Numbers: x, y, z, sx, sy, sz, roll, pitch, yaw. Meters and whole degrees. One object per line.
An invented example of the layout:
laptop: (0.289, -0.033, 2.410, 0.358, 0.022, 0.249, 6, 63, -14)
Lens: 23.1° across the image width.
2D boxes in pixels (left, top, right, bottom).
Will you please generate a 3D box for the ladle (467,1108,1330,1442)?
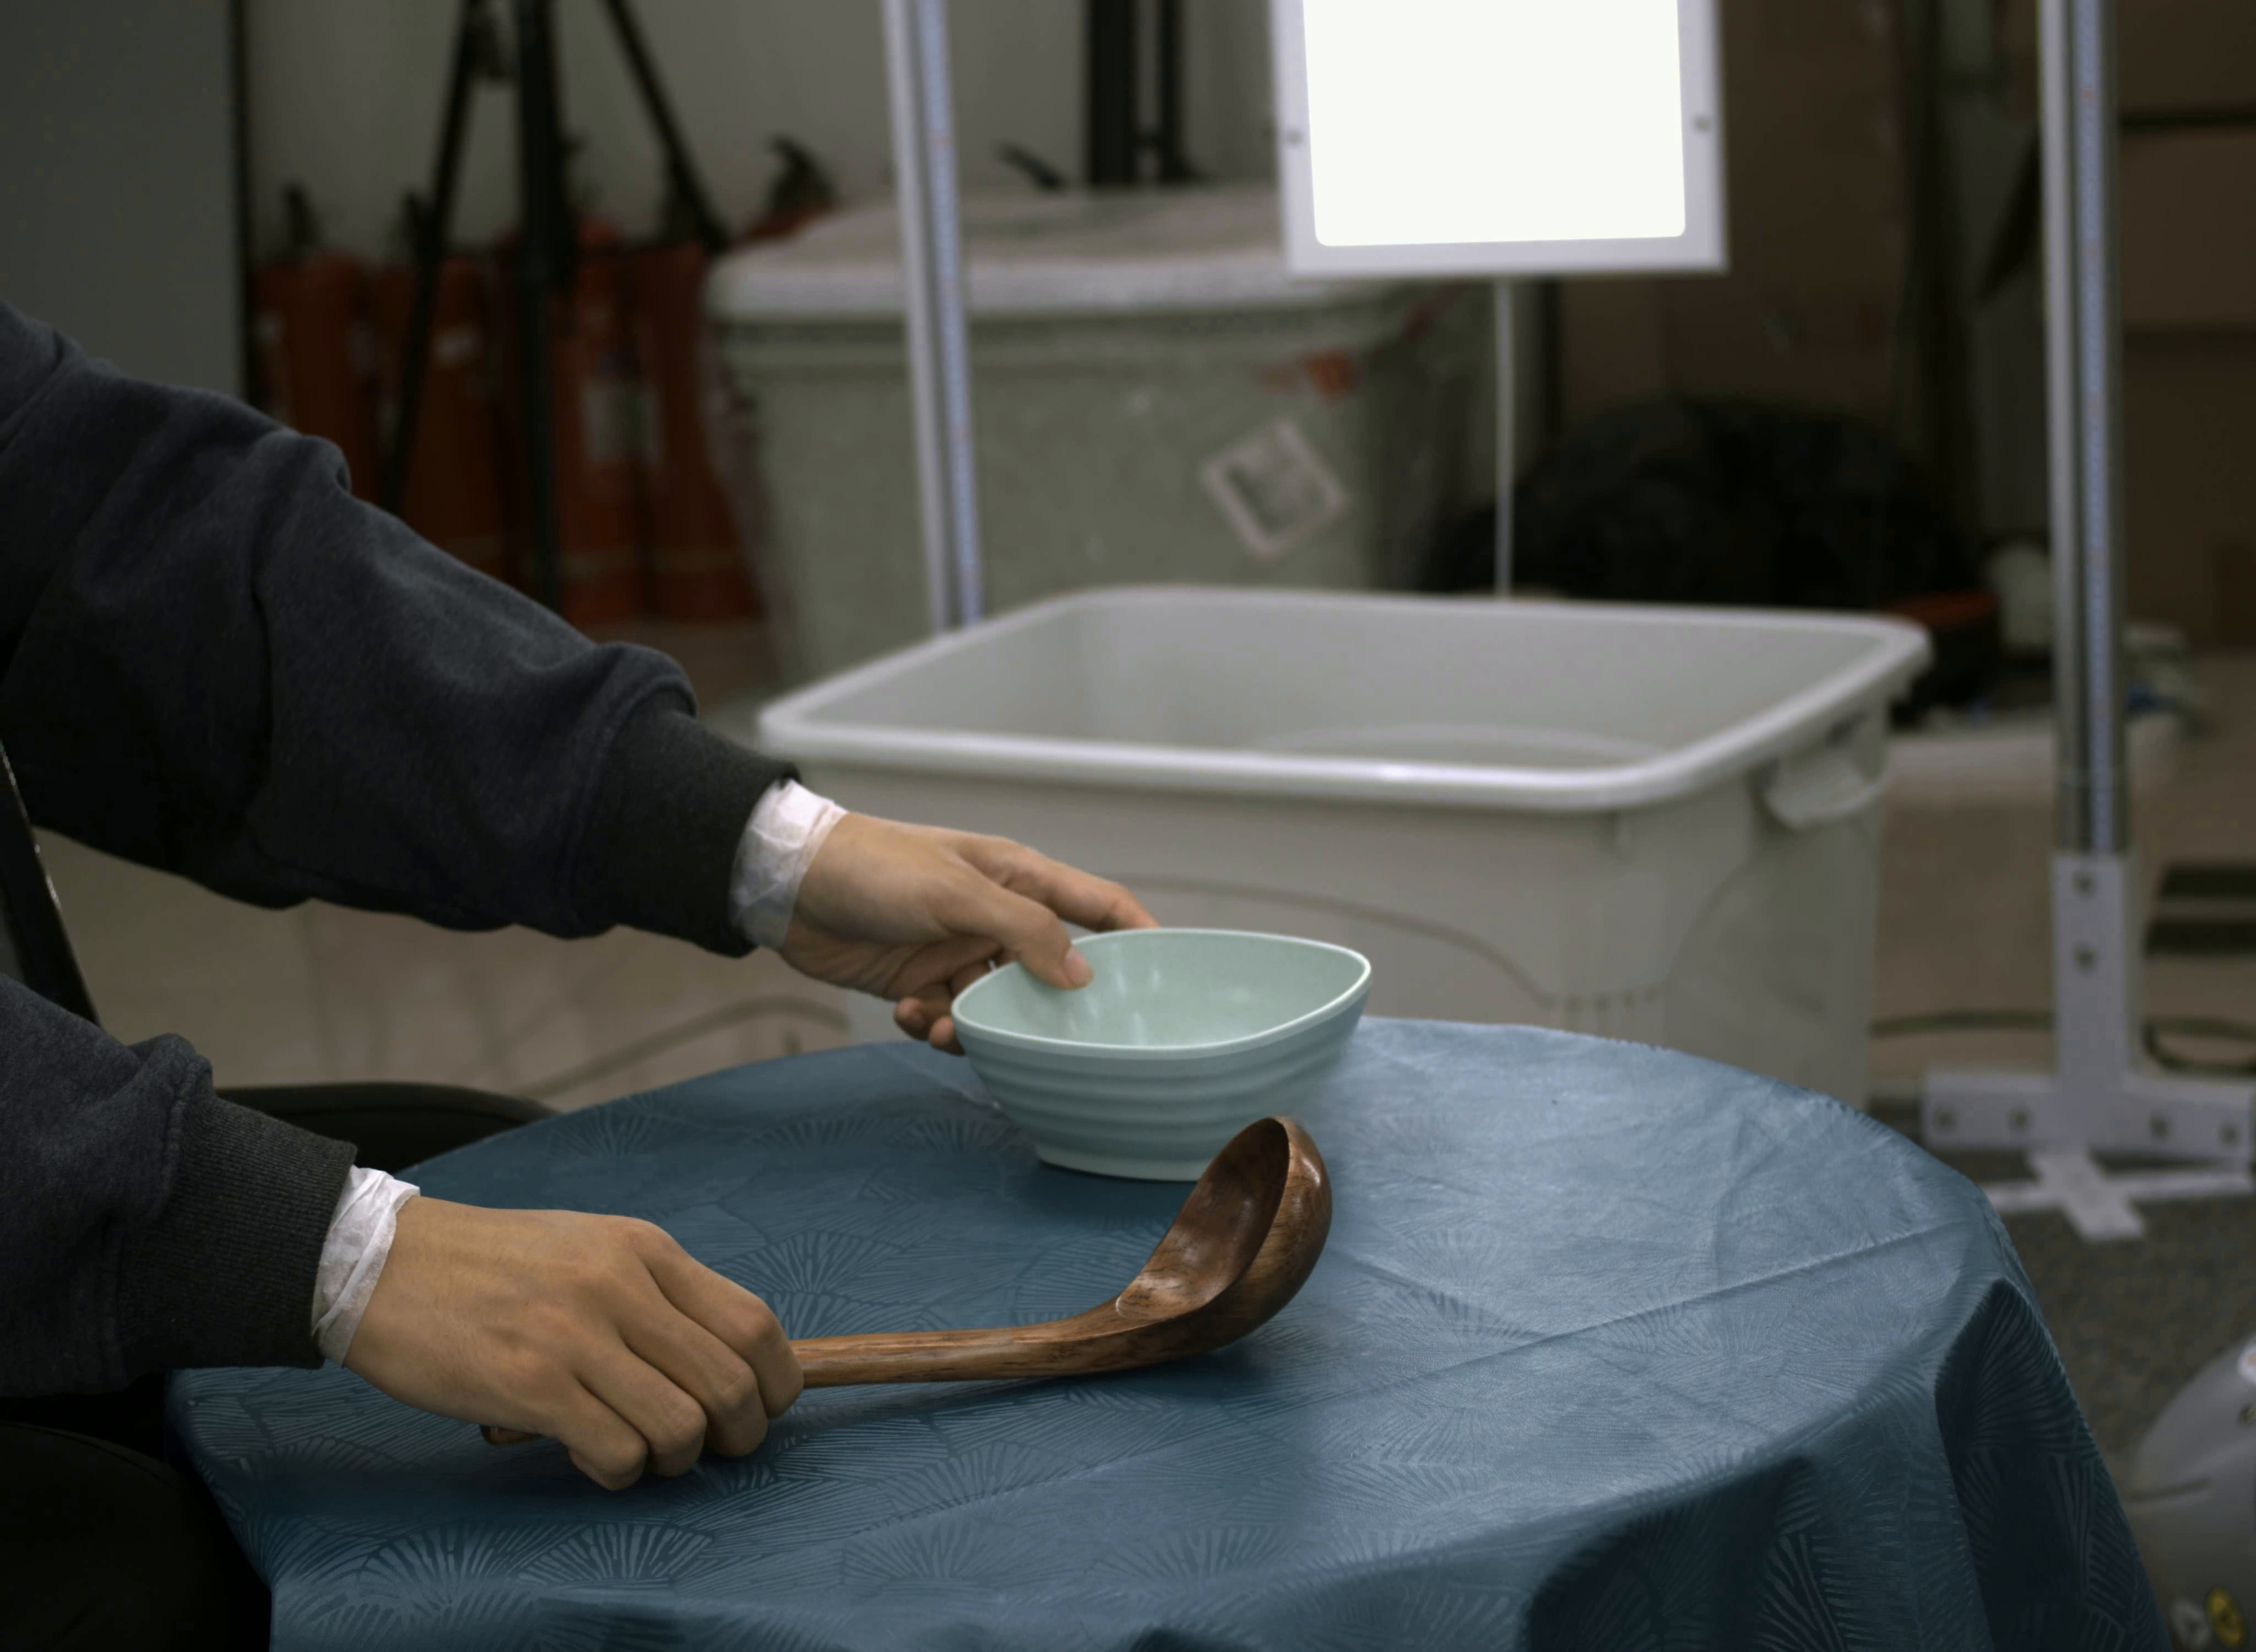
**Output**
ladle: (-0.069, 0.137, 1.701, 0.271, 0.077, 0.082, -5, 7, -10)

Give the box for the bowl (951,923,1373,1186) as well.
bowl: (0.013, 0.084, 1.940, 0.151, 0.059, 0.151, -3, 16, -1)
